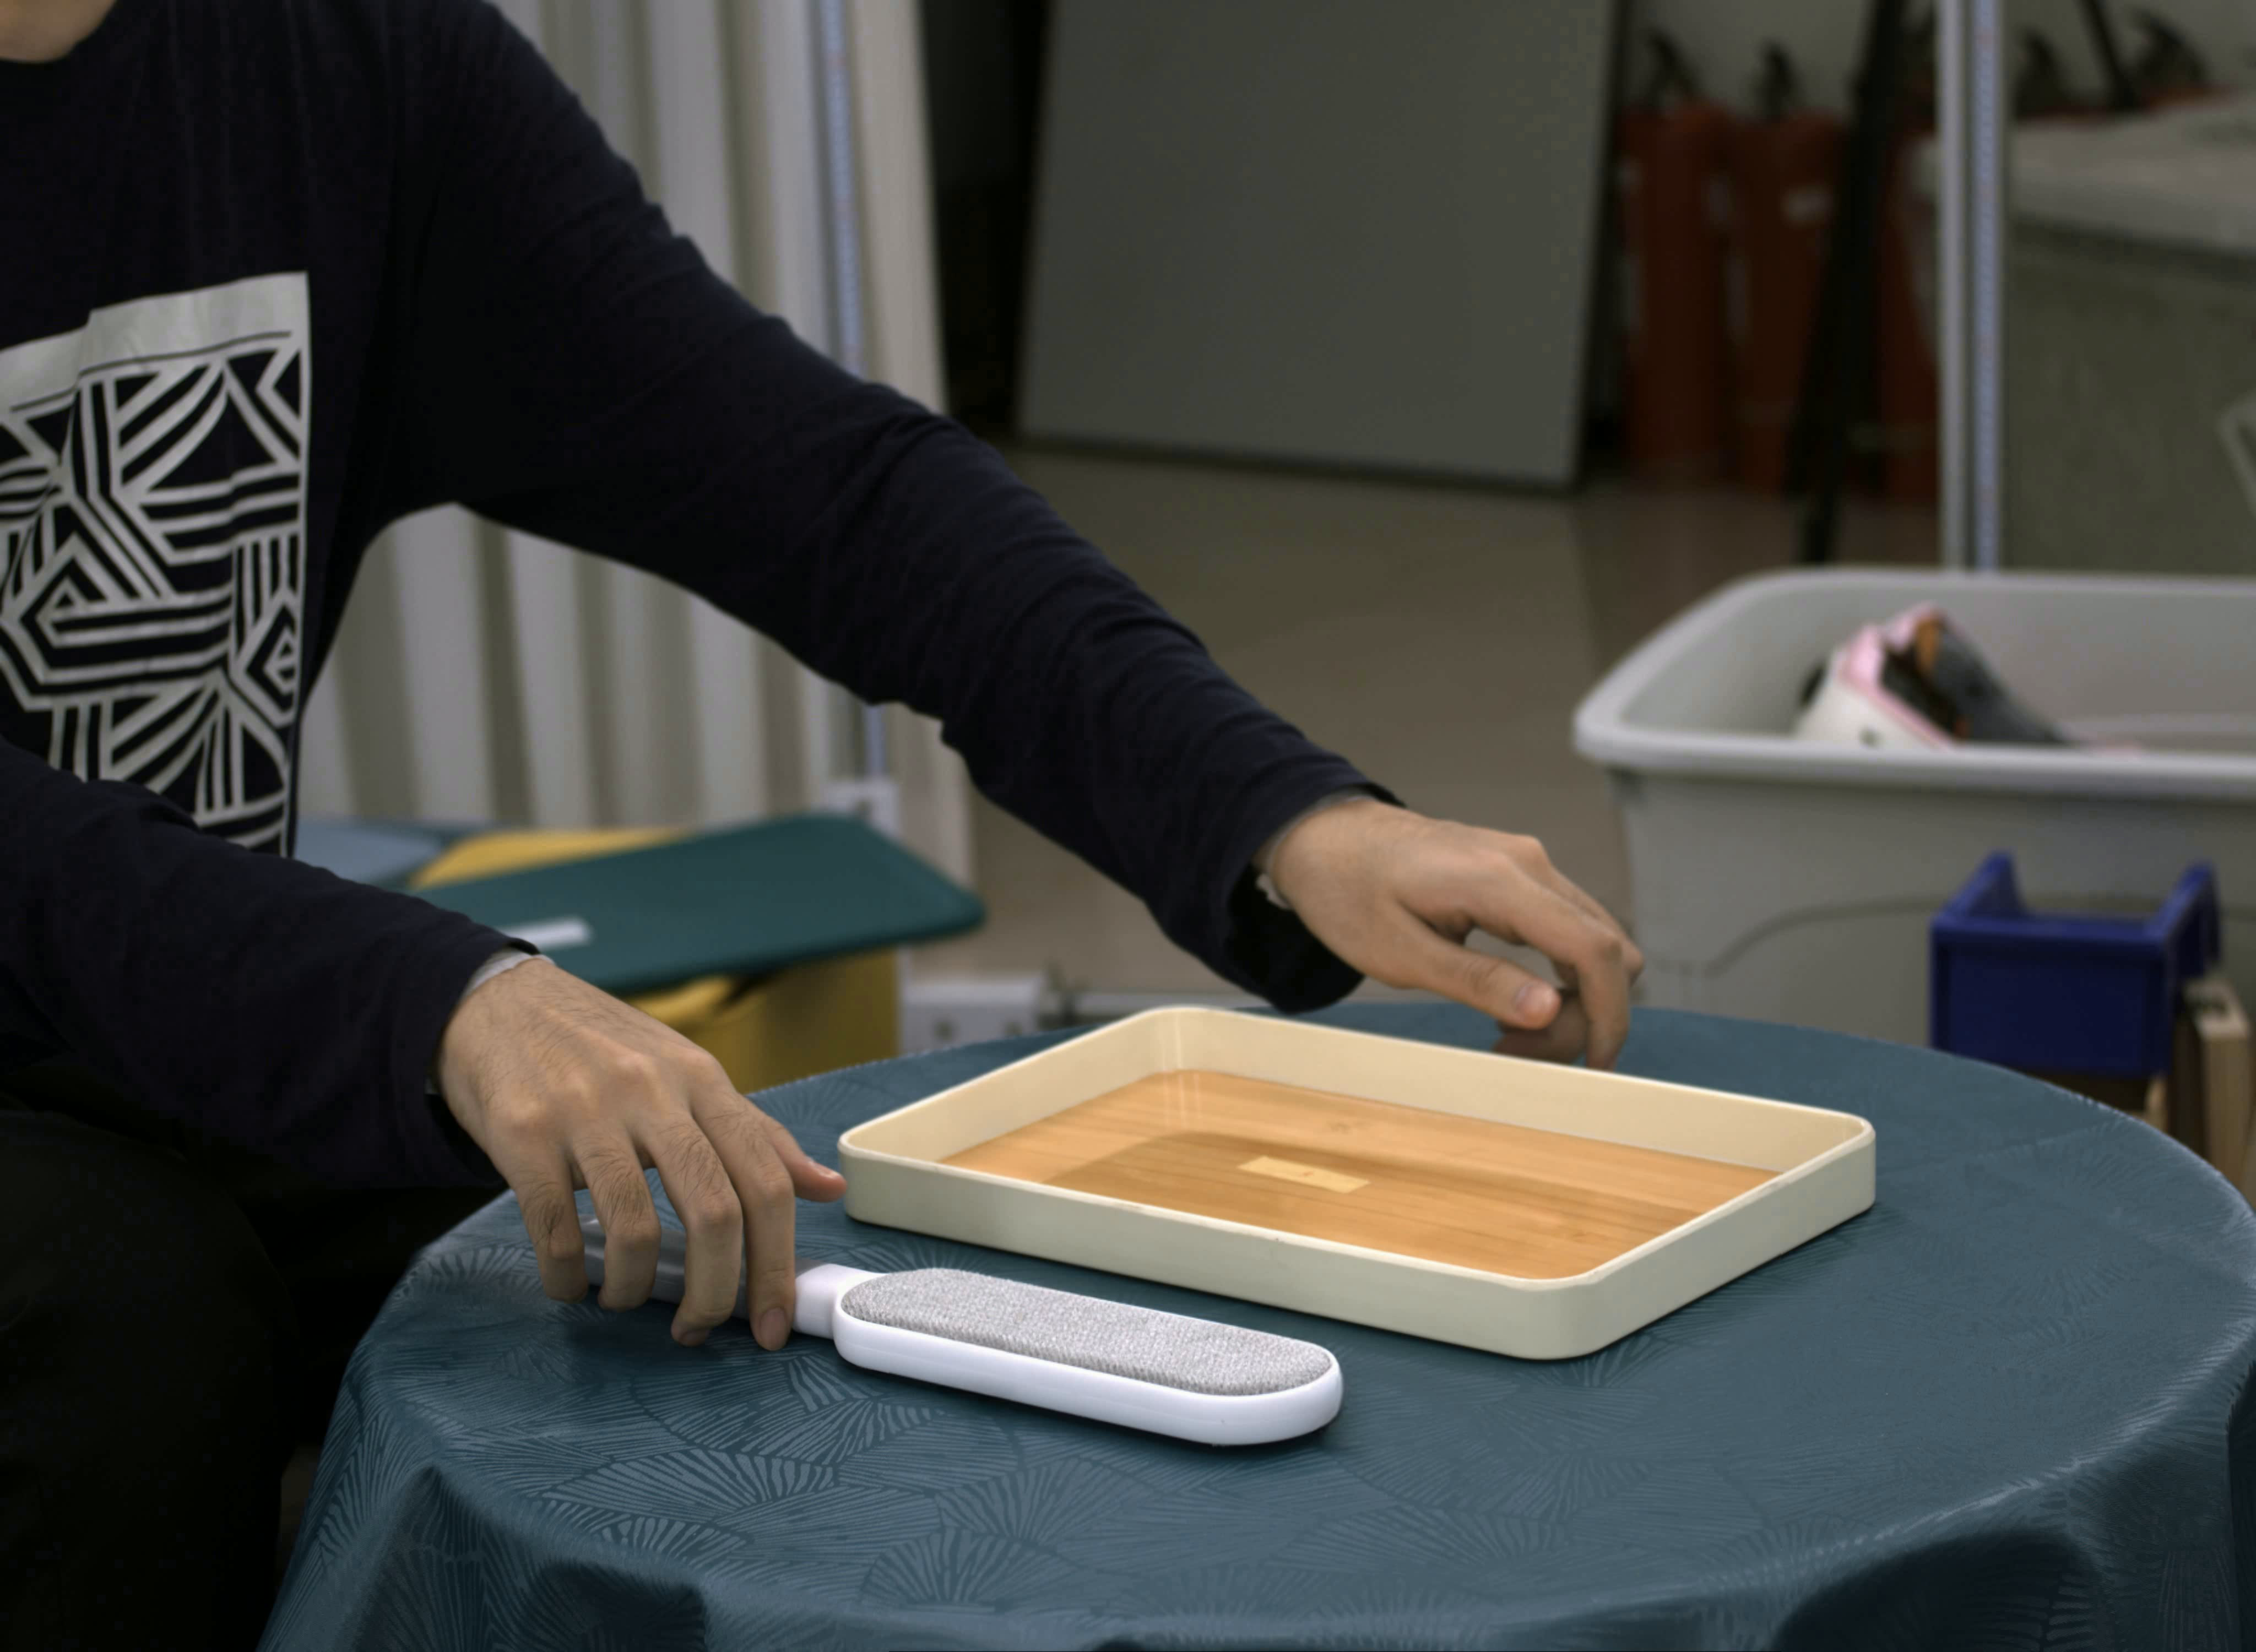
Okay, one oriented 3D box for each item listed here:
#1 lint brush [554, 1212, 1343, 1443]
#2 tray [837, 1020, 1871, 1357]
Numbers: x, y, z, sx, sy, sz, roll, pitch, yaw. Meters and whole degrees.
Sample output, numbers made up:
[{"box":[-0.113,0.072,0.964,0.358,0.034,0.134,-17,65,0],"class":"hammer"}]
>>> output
[{"box":[-0.061,0.147,1.629,0.311,0.021,0.059,7,23,40],"class":"lint brush"},{"box":[0.071,0.113,1.735,0.303,0.028,0.188,7,17,41],"class":"tray"}]
